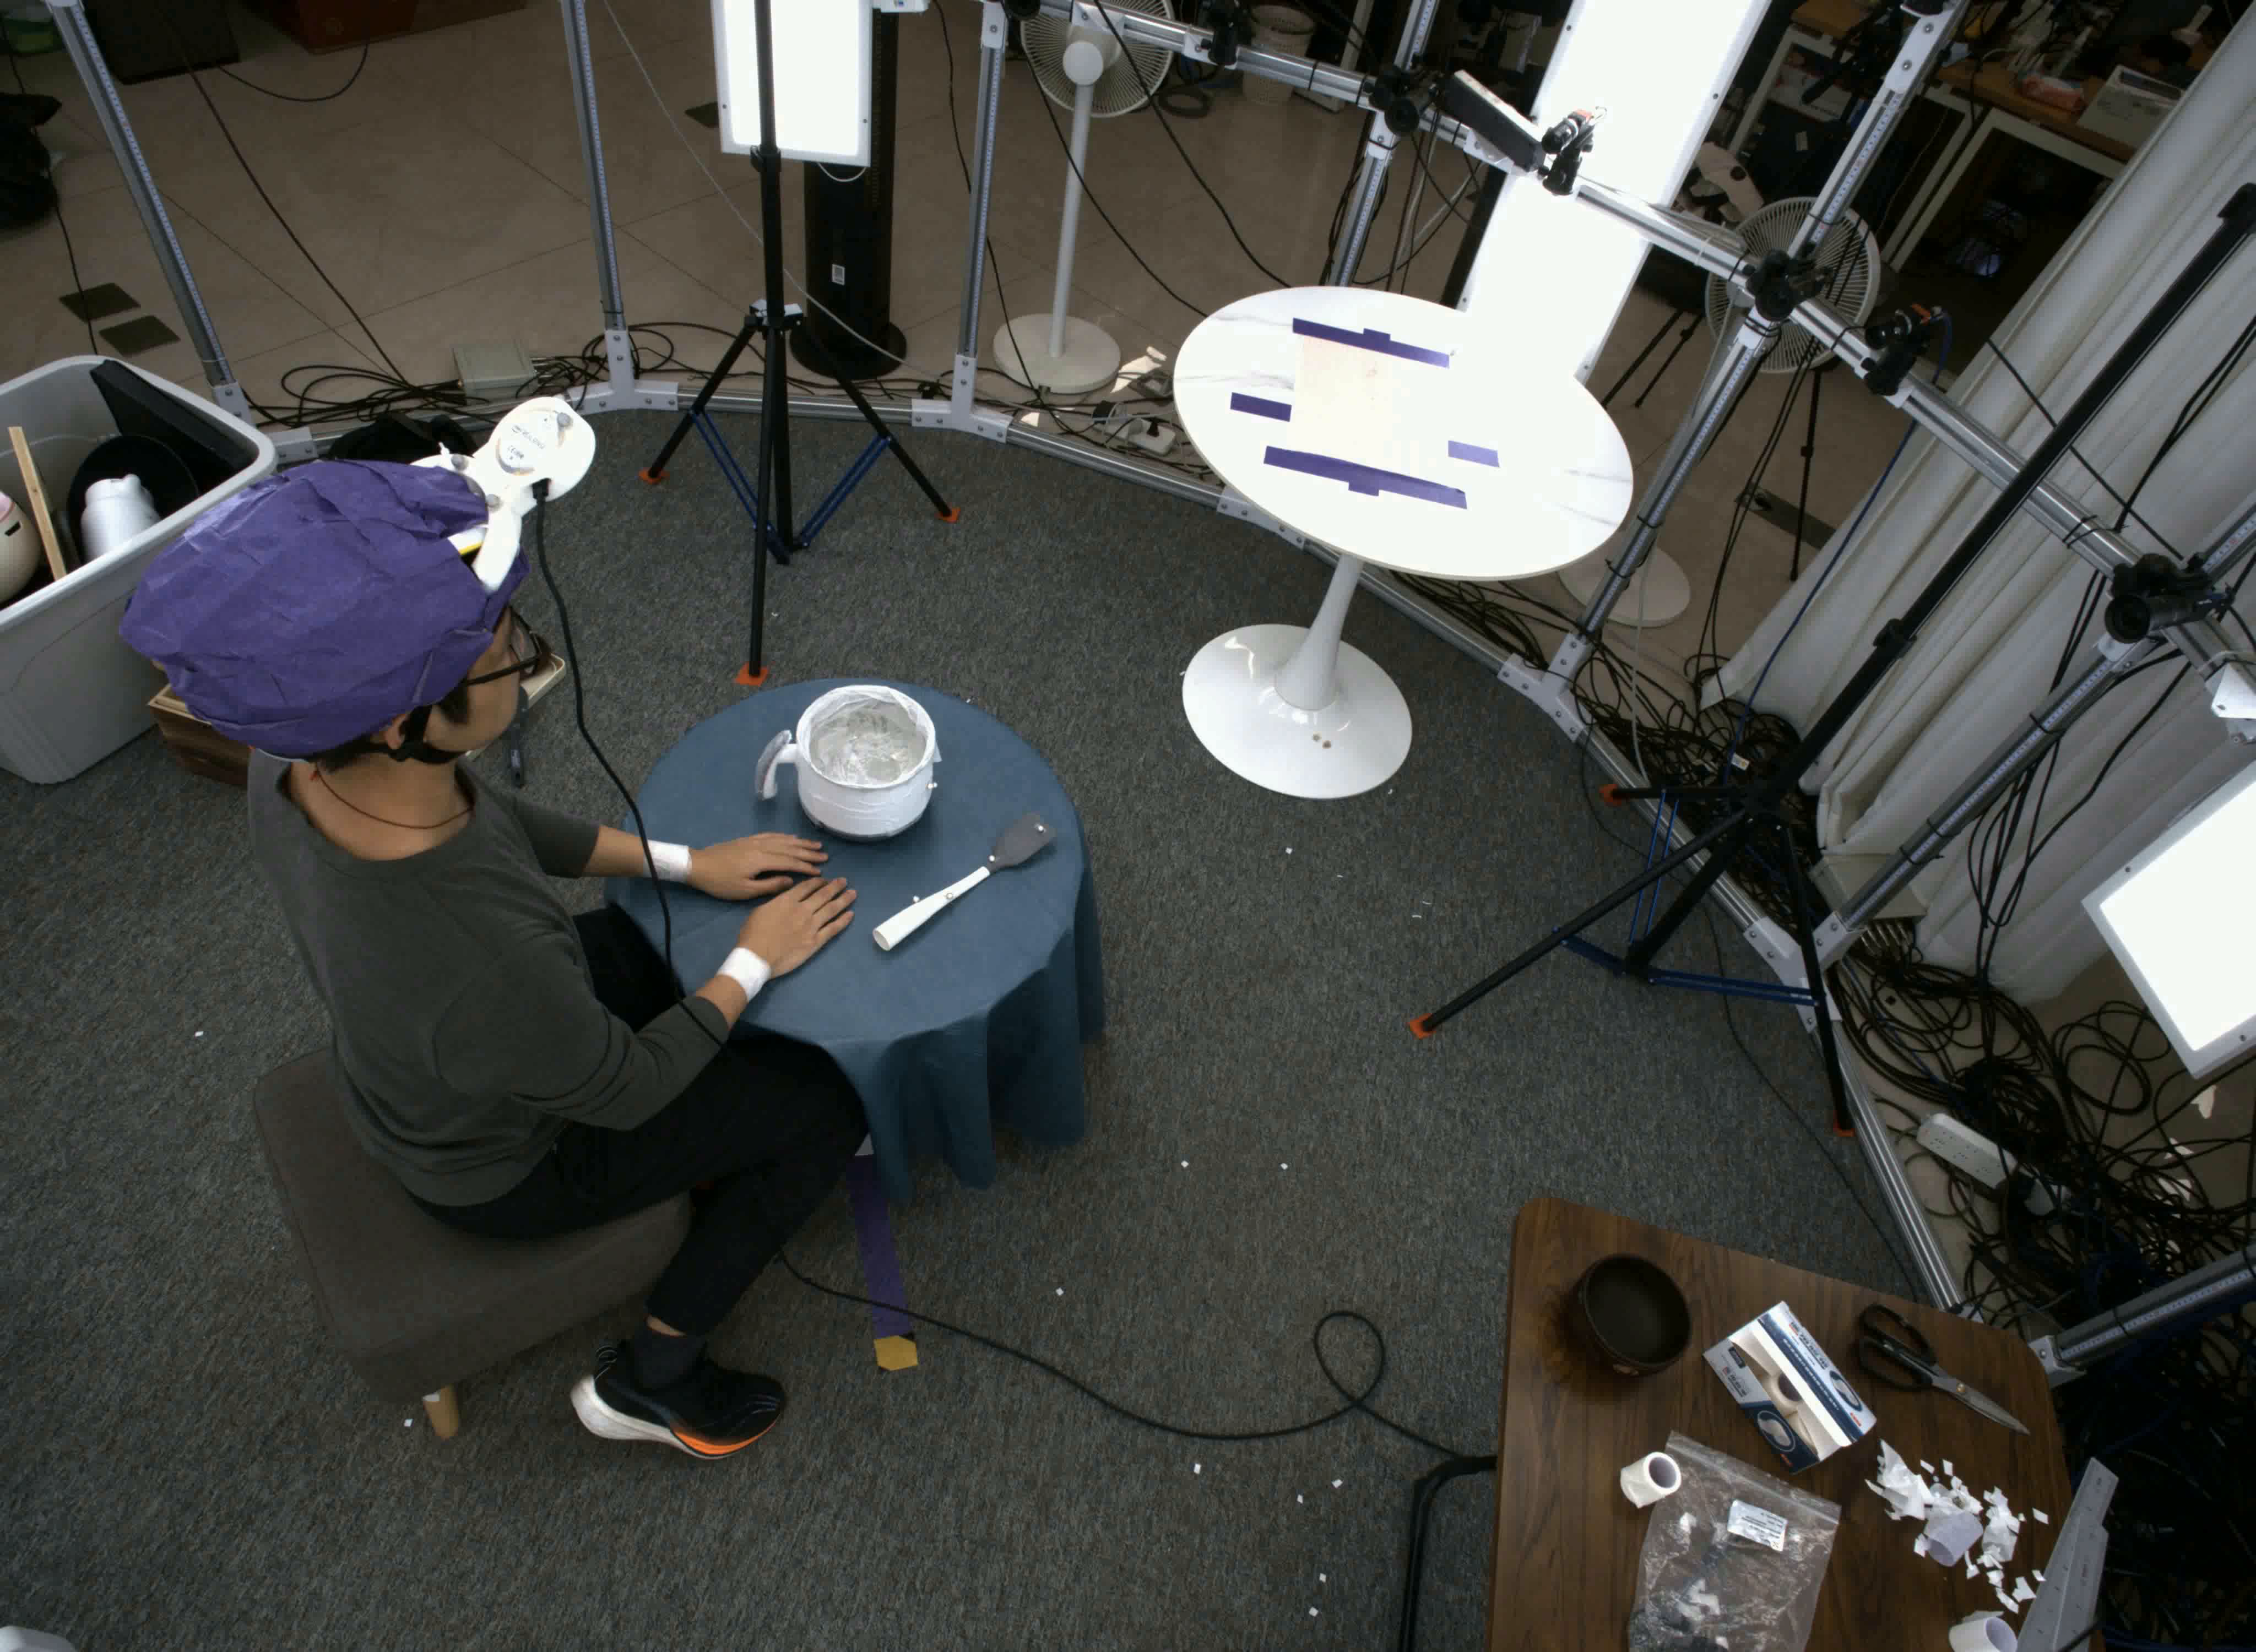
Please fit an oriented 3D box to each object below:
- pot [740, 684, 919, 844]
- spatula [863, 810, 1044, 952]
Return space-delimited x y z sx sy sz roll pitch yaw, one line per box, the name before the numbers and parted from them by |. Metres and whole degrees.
pot | -0.394 -0.077 1.711 0.234 0.139 0.174 -3 54 -16
spatula | -0.228 0.069 1.713 0.057 0.033 0.288 38 55 21
